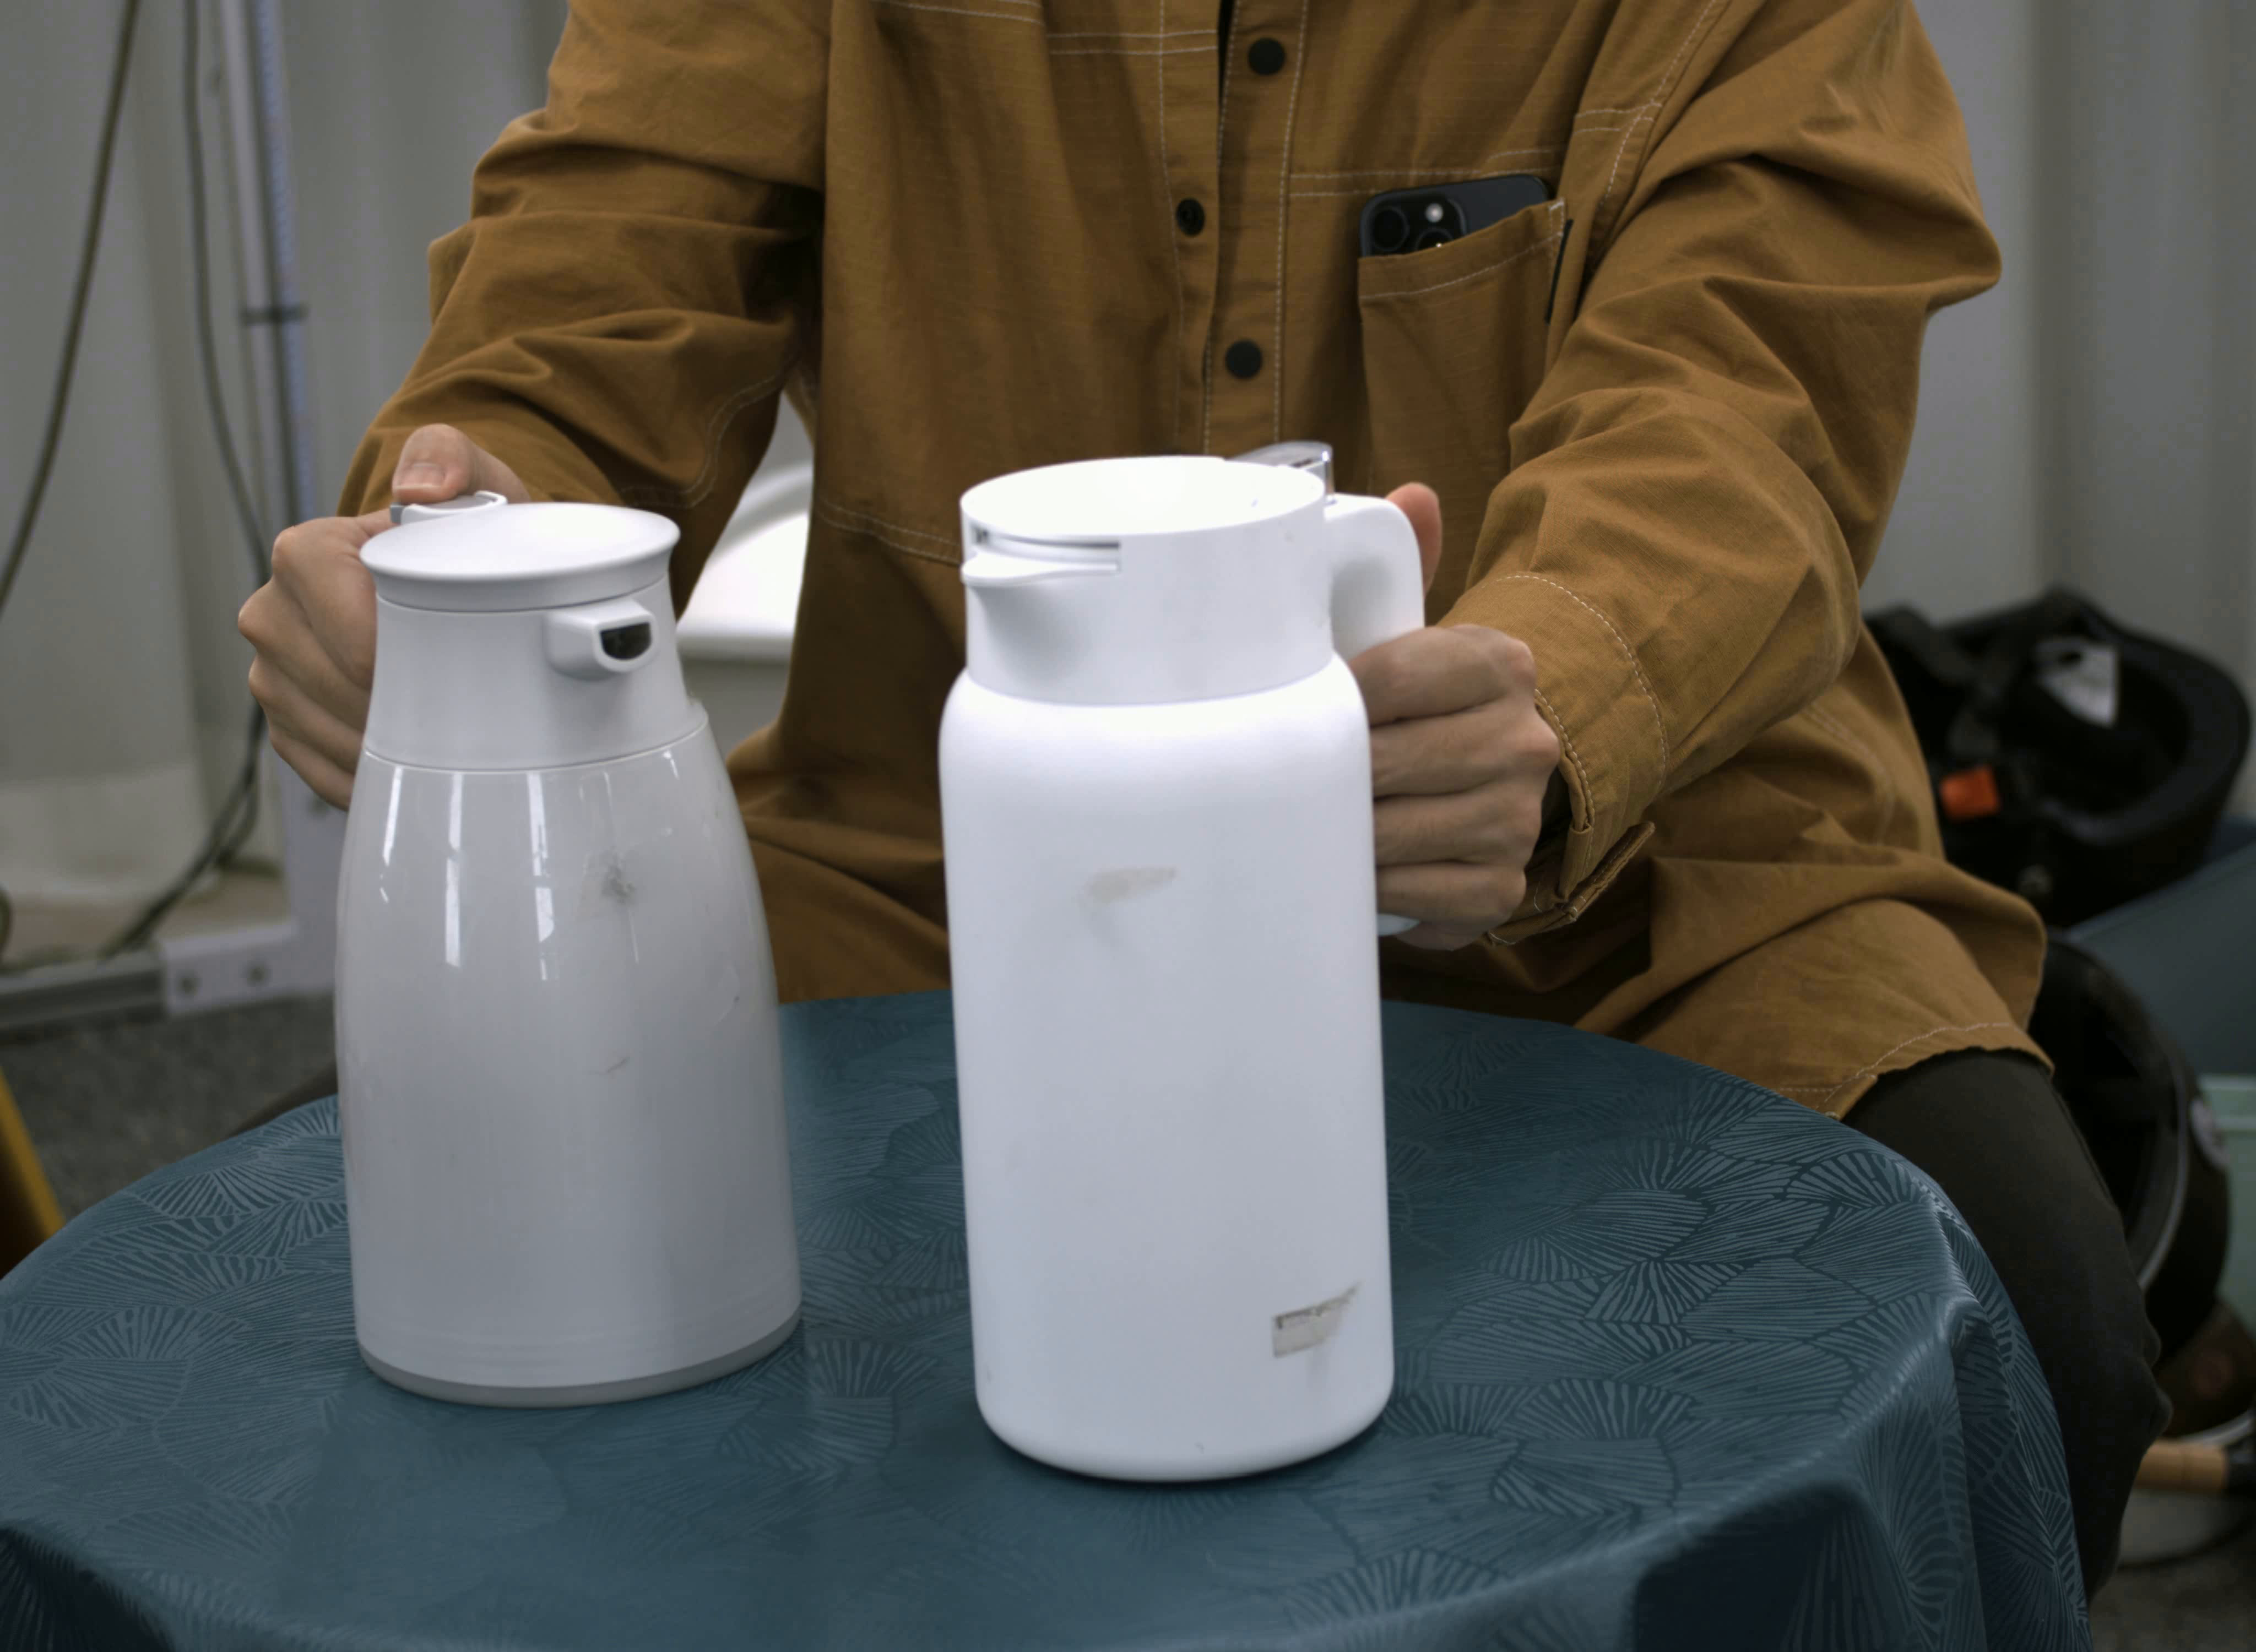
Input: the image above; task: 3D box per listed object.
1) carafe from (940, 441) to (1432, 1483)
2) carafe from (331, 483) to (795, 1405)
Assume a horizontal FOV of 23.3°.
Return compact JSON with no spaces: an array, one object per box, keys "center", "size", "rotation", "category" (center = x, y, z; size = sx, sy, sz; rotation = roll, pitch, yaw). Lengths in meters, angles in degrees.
[{"center":[0.020,0.032,1.505],"size":[0.124,0.268,0.172],"rotation":[6,16,40],"category":"carafe"},{"center":[-0.179,0.026,1.603],"size":[0.132,0.248,0.169],"rotation":[-11,15,-32],"category":"carafe"}]
